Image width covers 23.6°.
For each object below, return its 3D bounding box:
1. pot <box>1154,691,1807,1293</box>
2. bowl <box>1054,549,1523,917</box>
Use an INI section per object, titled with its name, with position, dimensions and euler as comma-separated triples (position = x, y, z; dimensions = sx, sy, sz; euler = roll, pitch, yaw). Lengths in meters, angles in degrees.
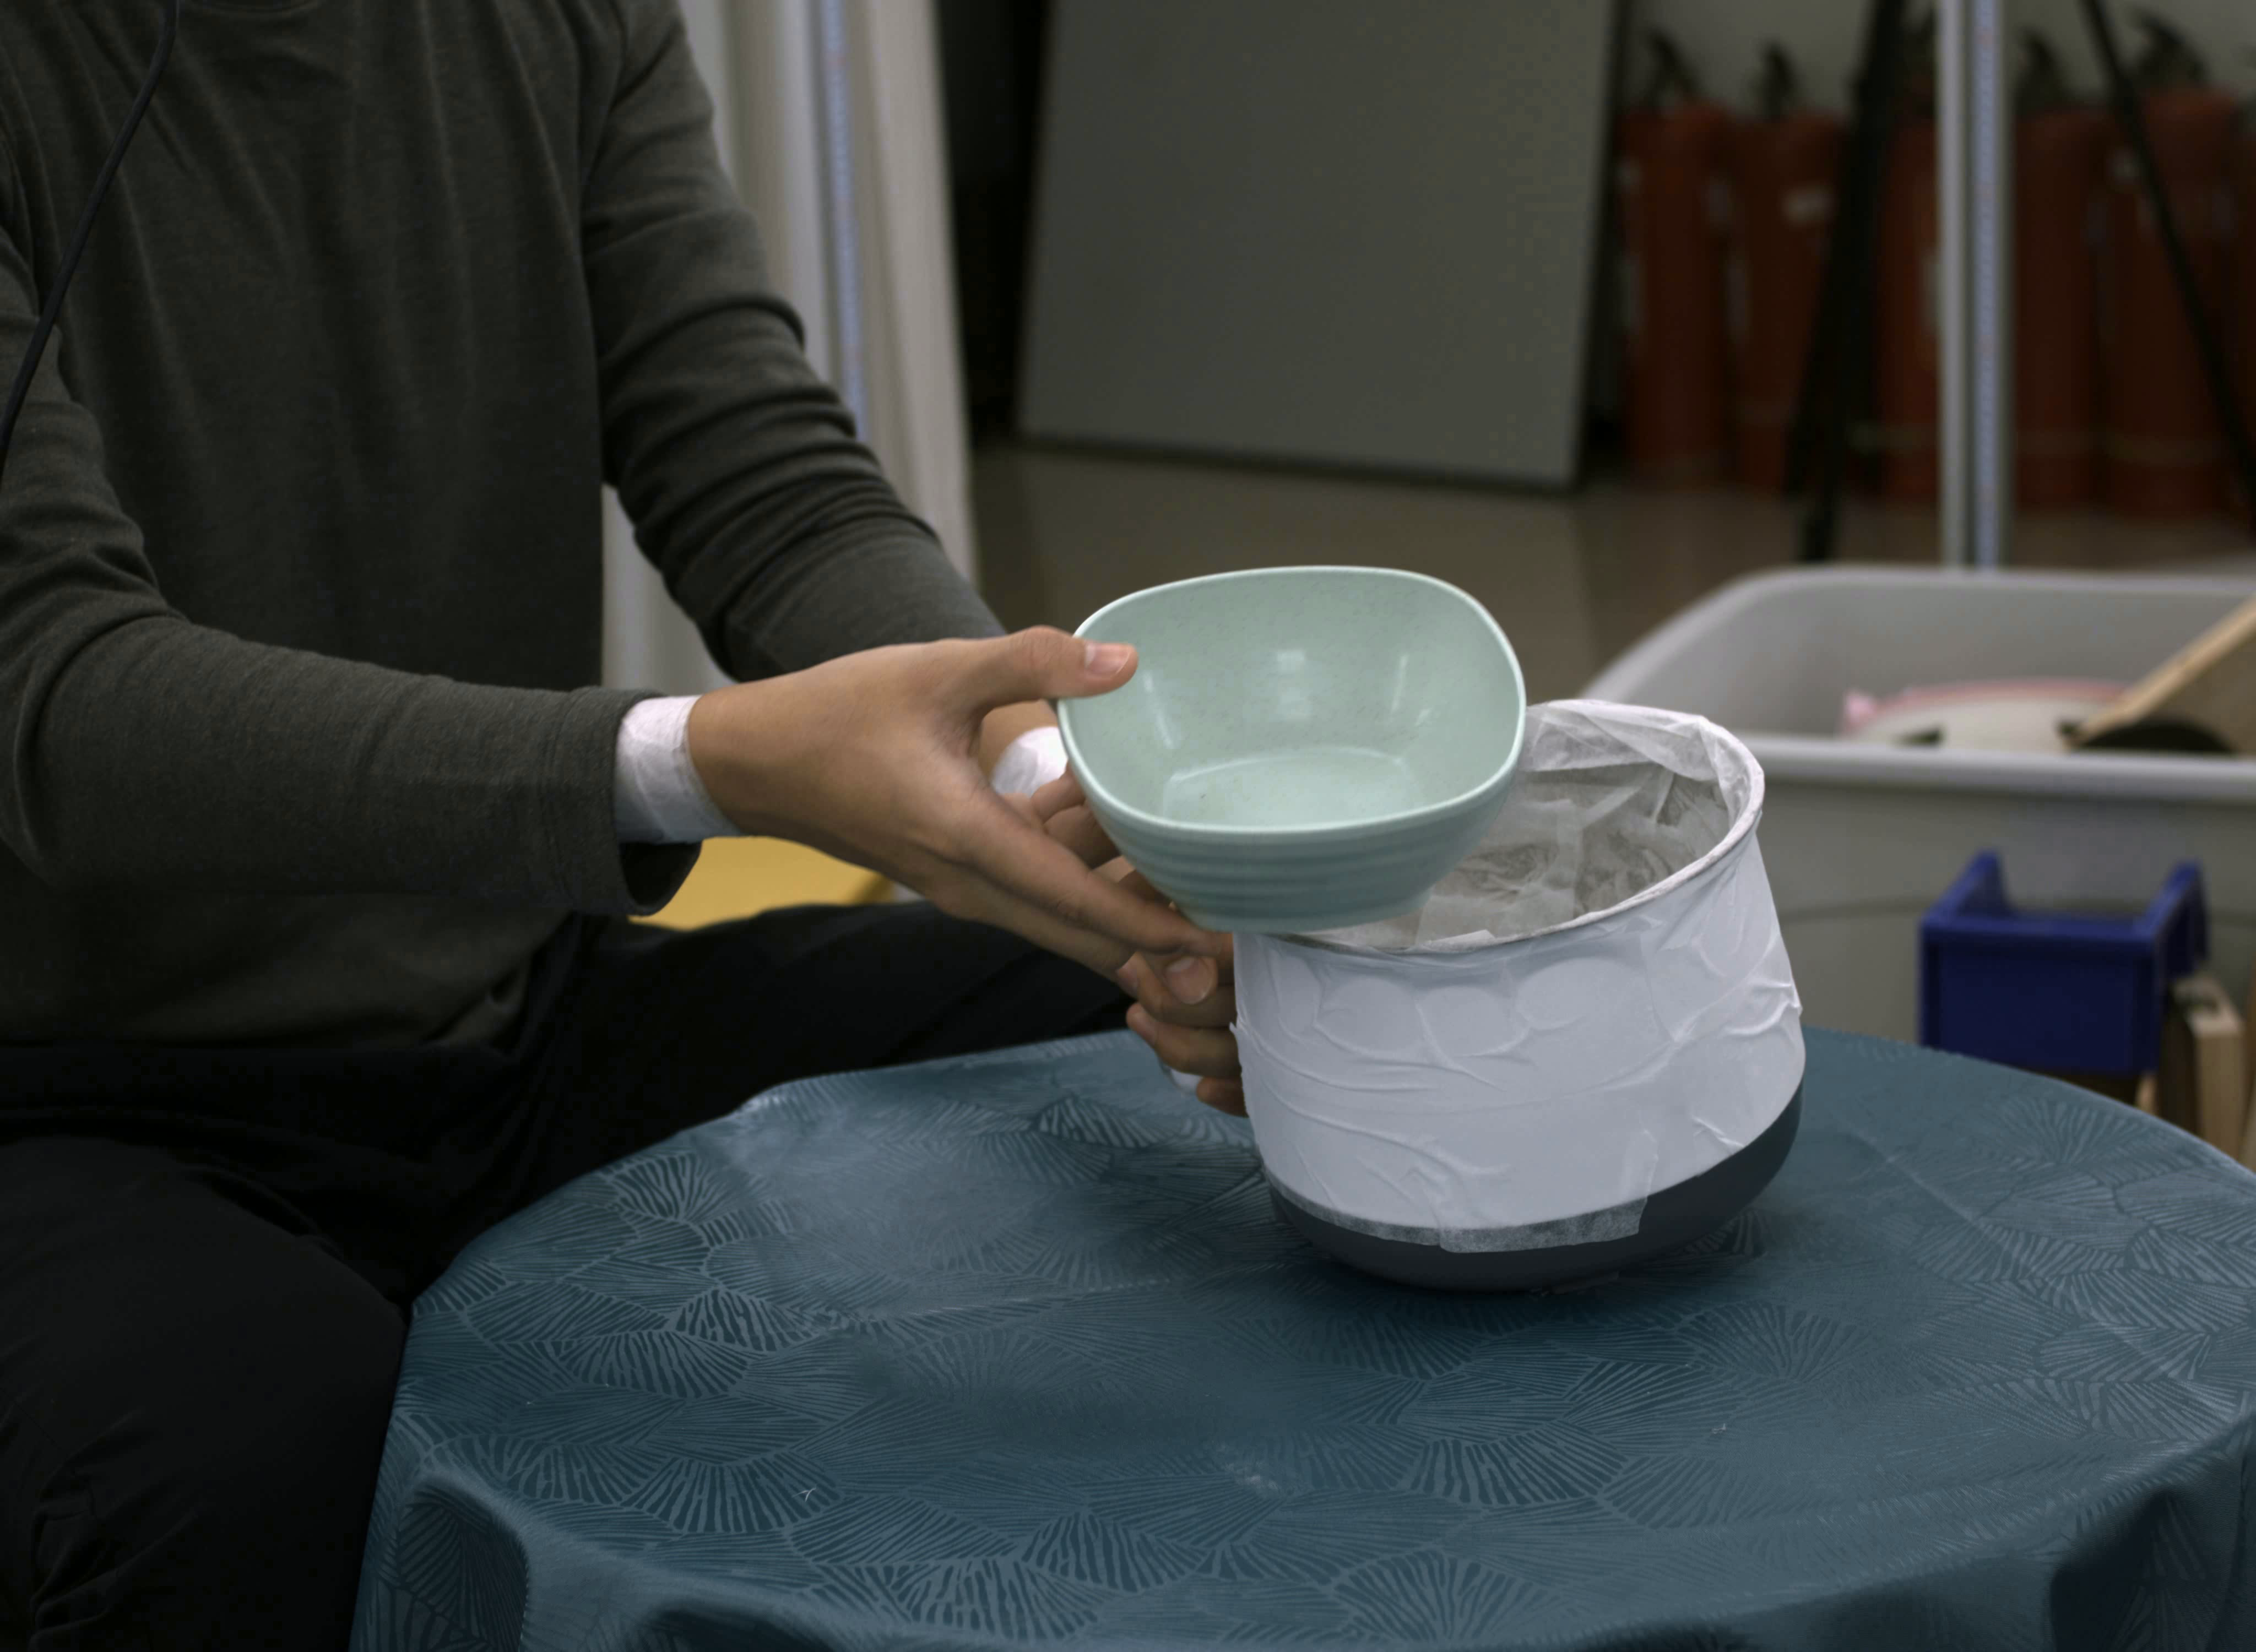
[pot]
position = 0.099, 0.051, 1.701
dimensions = 0.235, 0.137, 0.176
euler = 7, 29, 39
[bowl]
position = 0.048, -0.021, 1.597
dimensions = 0.149, 0.059, 0.152
euler = -2, 34, 1
